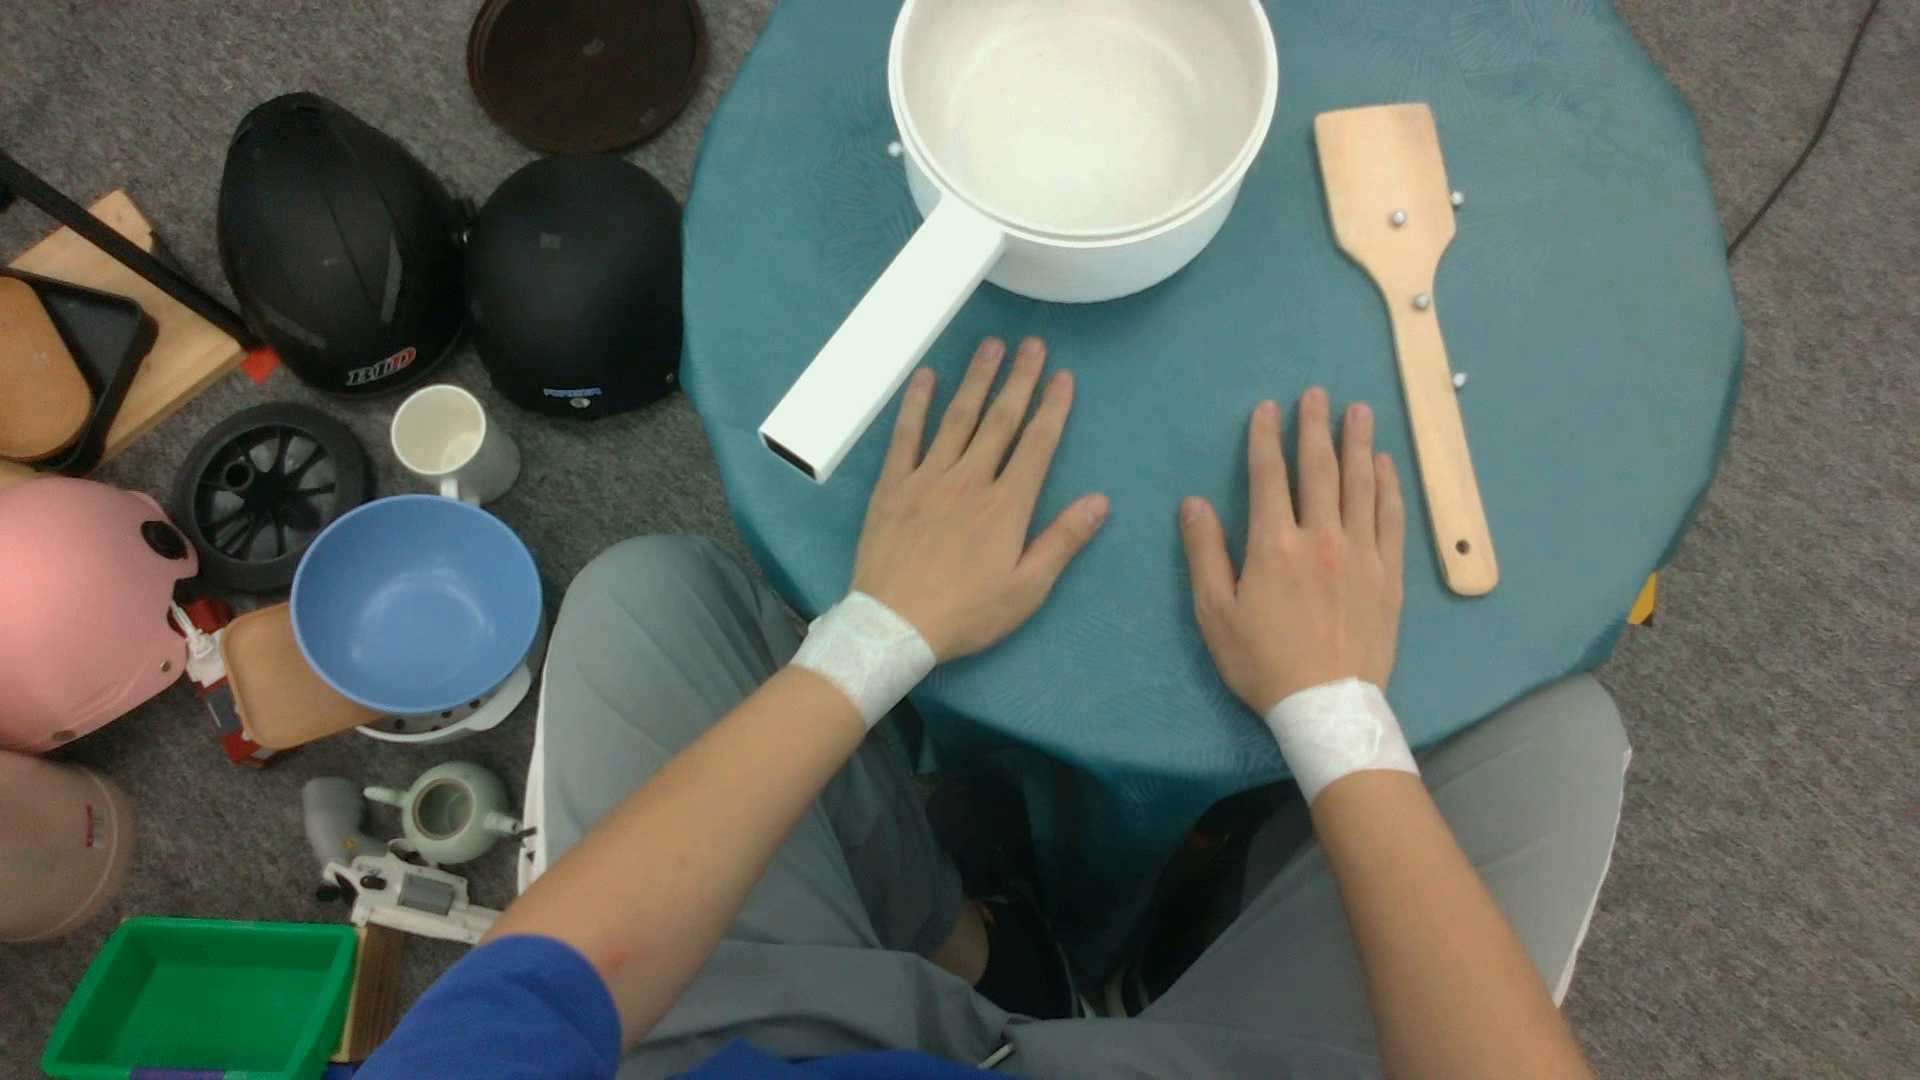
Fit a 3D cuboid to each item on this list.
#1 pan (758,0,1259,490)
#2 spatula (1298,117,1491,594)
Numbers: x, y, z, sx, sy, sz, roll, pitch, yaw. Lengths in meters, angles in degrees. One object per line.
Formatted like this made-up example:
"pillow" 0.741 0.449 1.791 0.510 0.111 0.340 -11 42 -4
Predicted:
"pan" 0.016 -0.168 0.758 0.201 0.102 0.355 33 77 8
"spatula" 0.255 -0.111 0.781 0.072 0.010 0.293 -7 73 -2
